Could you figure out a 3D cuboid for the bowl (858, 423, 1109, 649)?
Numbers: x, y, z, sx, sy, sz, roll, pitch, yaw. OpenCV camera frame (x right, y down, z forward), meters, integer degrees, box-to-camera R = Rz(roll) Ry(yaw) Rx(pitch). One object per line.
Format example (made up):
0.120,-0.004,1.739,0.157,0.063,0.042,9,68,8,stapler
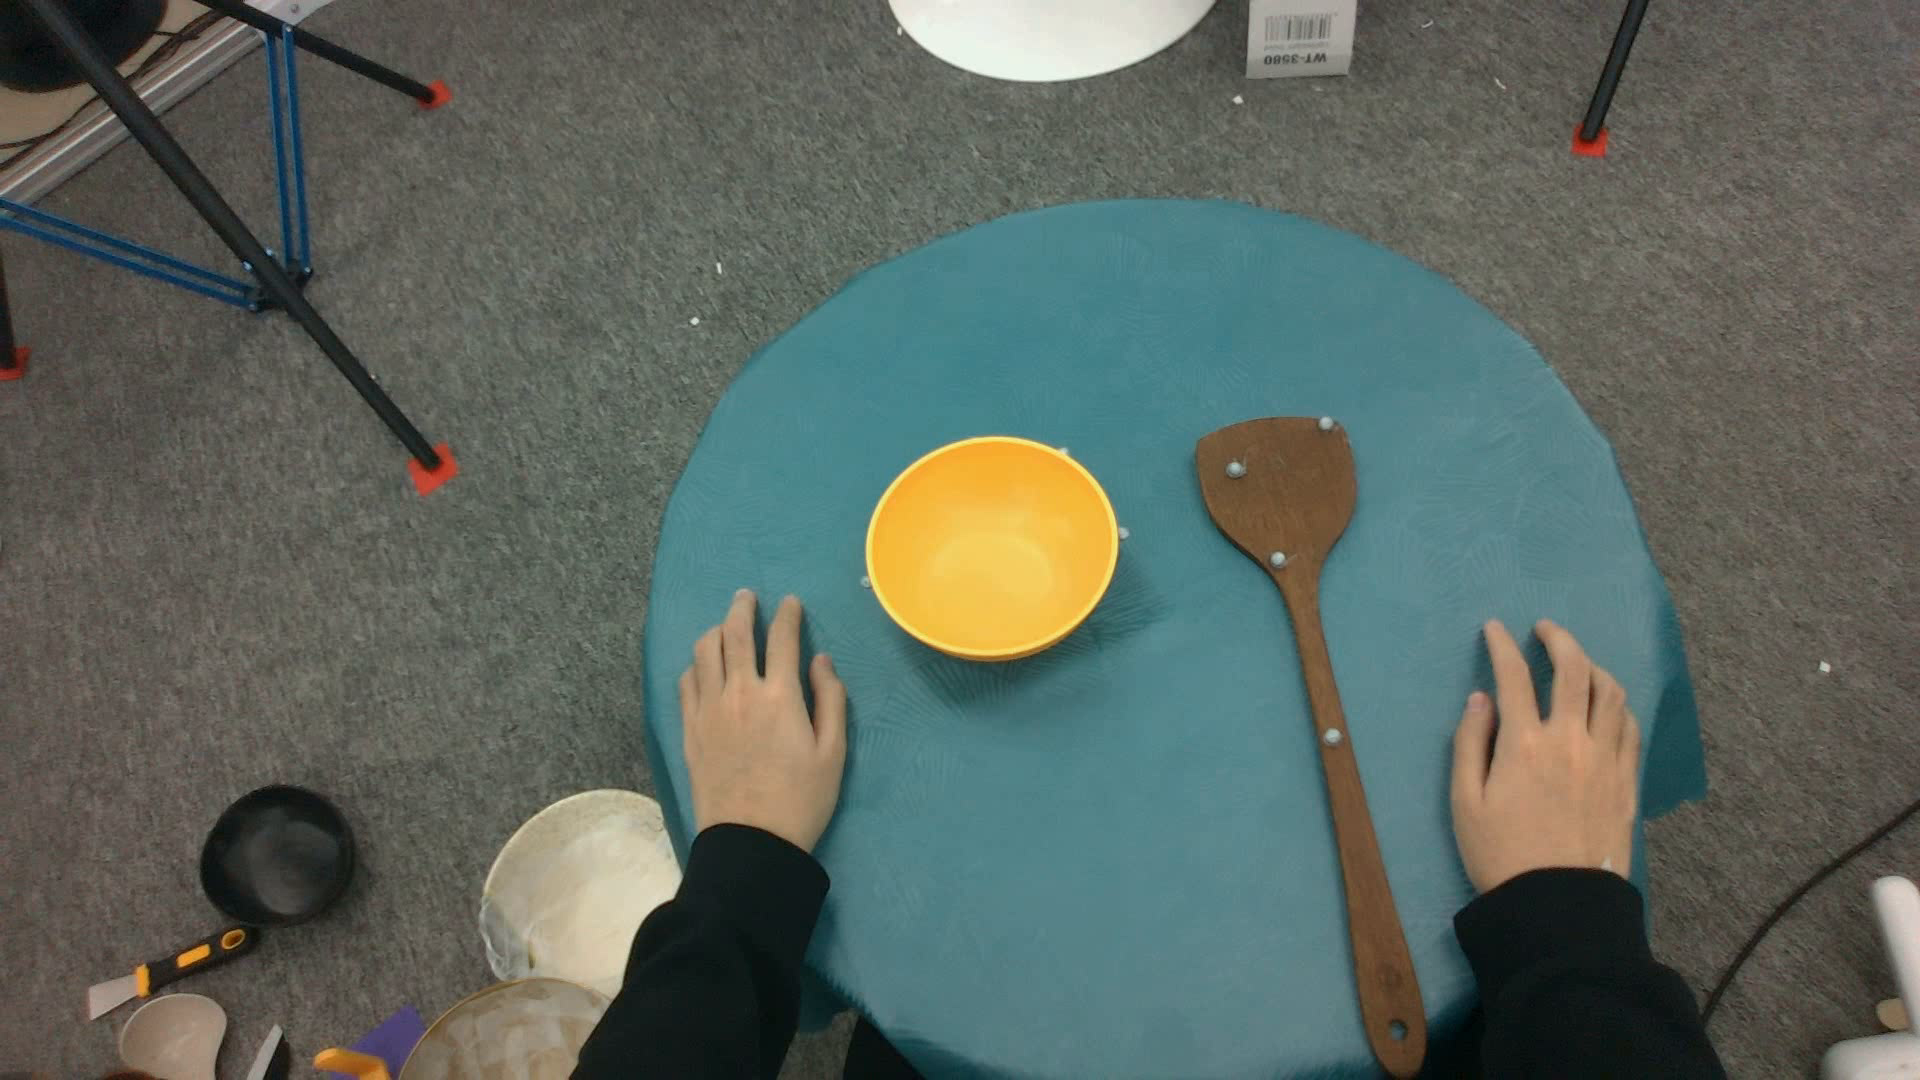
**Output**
0.016,0.007,0.808,0.145,0.060,0.146,-4,61,7,bowl

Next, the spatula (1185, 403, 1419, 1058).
0.199,0.084,0.767,0.096,0.016,0.387,-7,60,3,spatula
